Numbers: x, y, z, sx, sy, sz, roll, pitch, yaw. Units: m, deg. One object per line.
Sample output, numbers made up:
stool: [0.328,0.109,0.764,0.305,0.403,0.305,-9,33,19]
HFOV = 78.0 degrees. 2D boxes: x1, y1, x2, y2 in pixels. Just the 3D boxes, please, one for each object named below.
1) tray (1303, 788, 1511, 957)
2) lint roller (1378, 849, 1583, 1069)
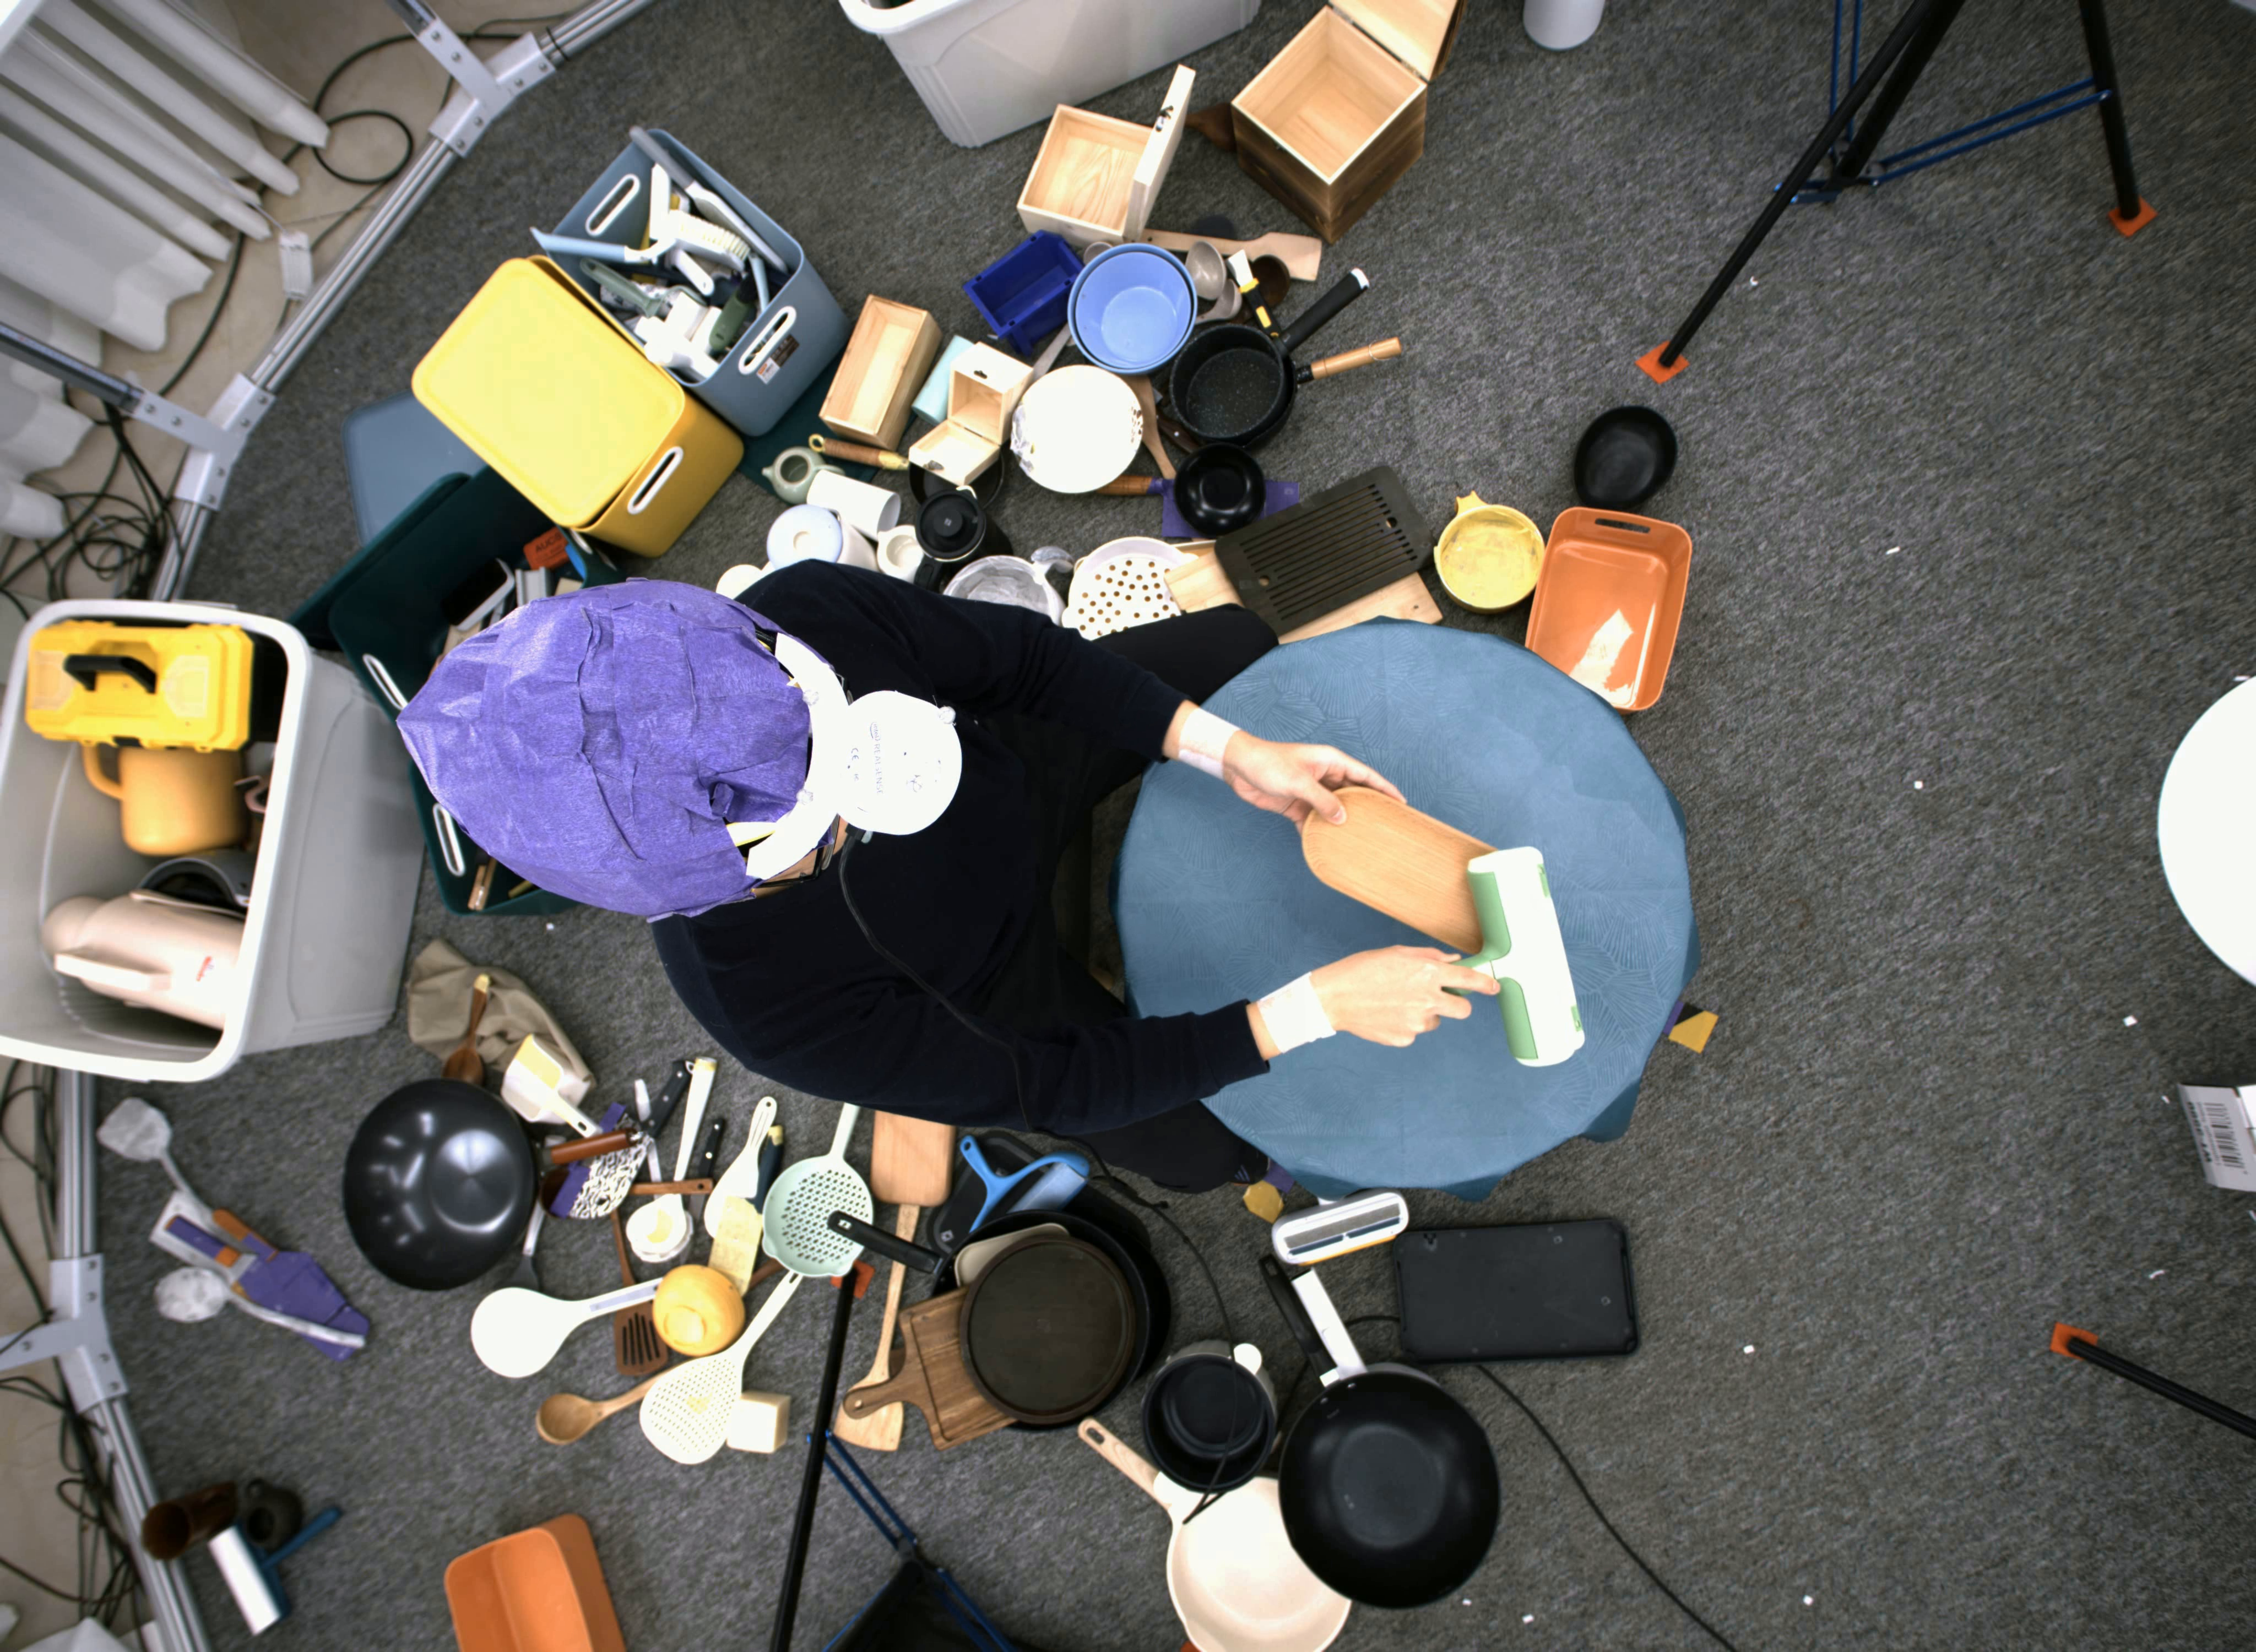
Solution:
tray: [0.274,0.041,1.291,0.231,0.020,0.102,25,100,4]
lint roller: [0.315,0.135,1.226,0.181,0.082,0.199,-19,99,-21]
